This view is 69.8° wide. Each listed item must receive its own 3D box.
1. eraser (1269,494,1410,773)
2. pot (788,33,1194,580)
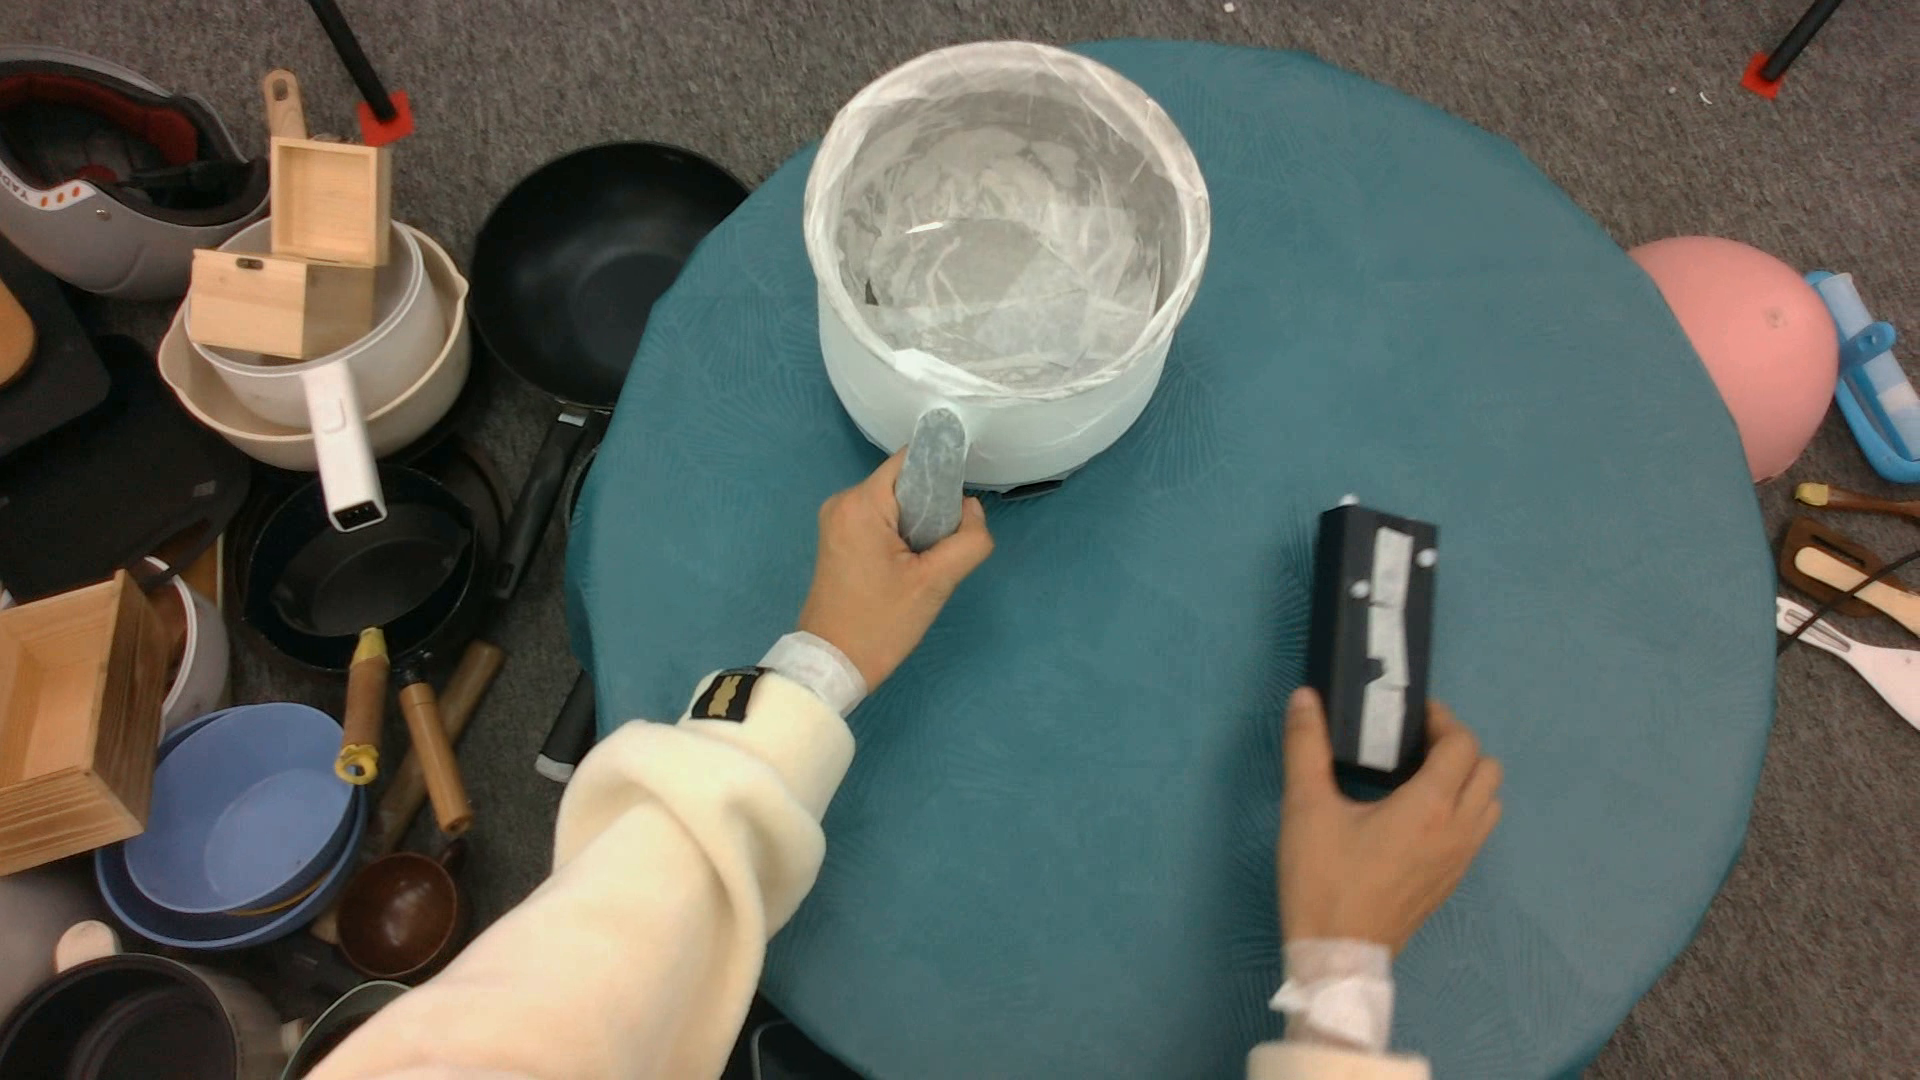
[{"bbox_3d":[0.178,0.043,0.643,0.053,0.030,0.126,14,73,-14],"label":"eraser"},{"bbox_3d":[0.004,-0.101,0.648,0.179,0.136,0.234,14,72,1],"label":"pot"}]
